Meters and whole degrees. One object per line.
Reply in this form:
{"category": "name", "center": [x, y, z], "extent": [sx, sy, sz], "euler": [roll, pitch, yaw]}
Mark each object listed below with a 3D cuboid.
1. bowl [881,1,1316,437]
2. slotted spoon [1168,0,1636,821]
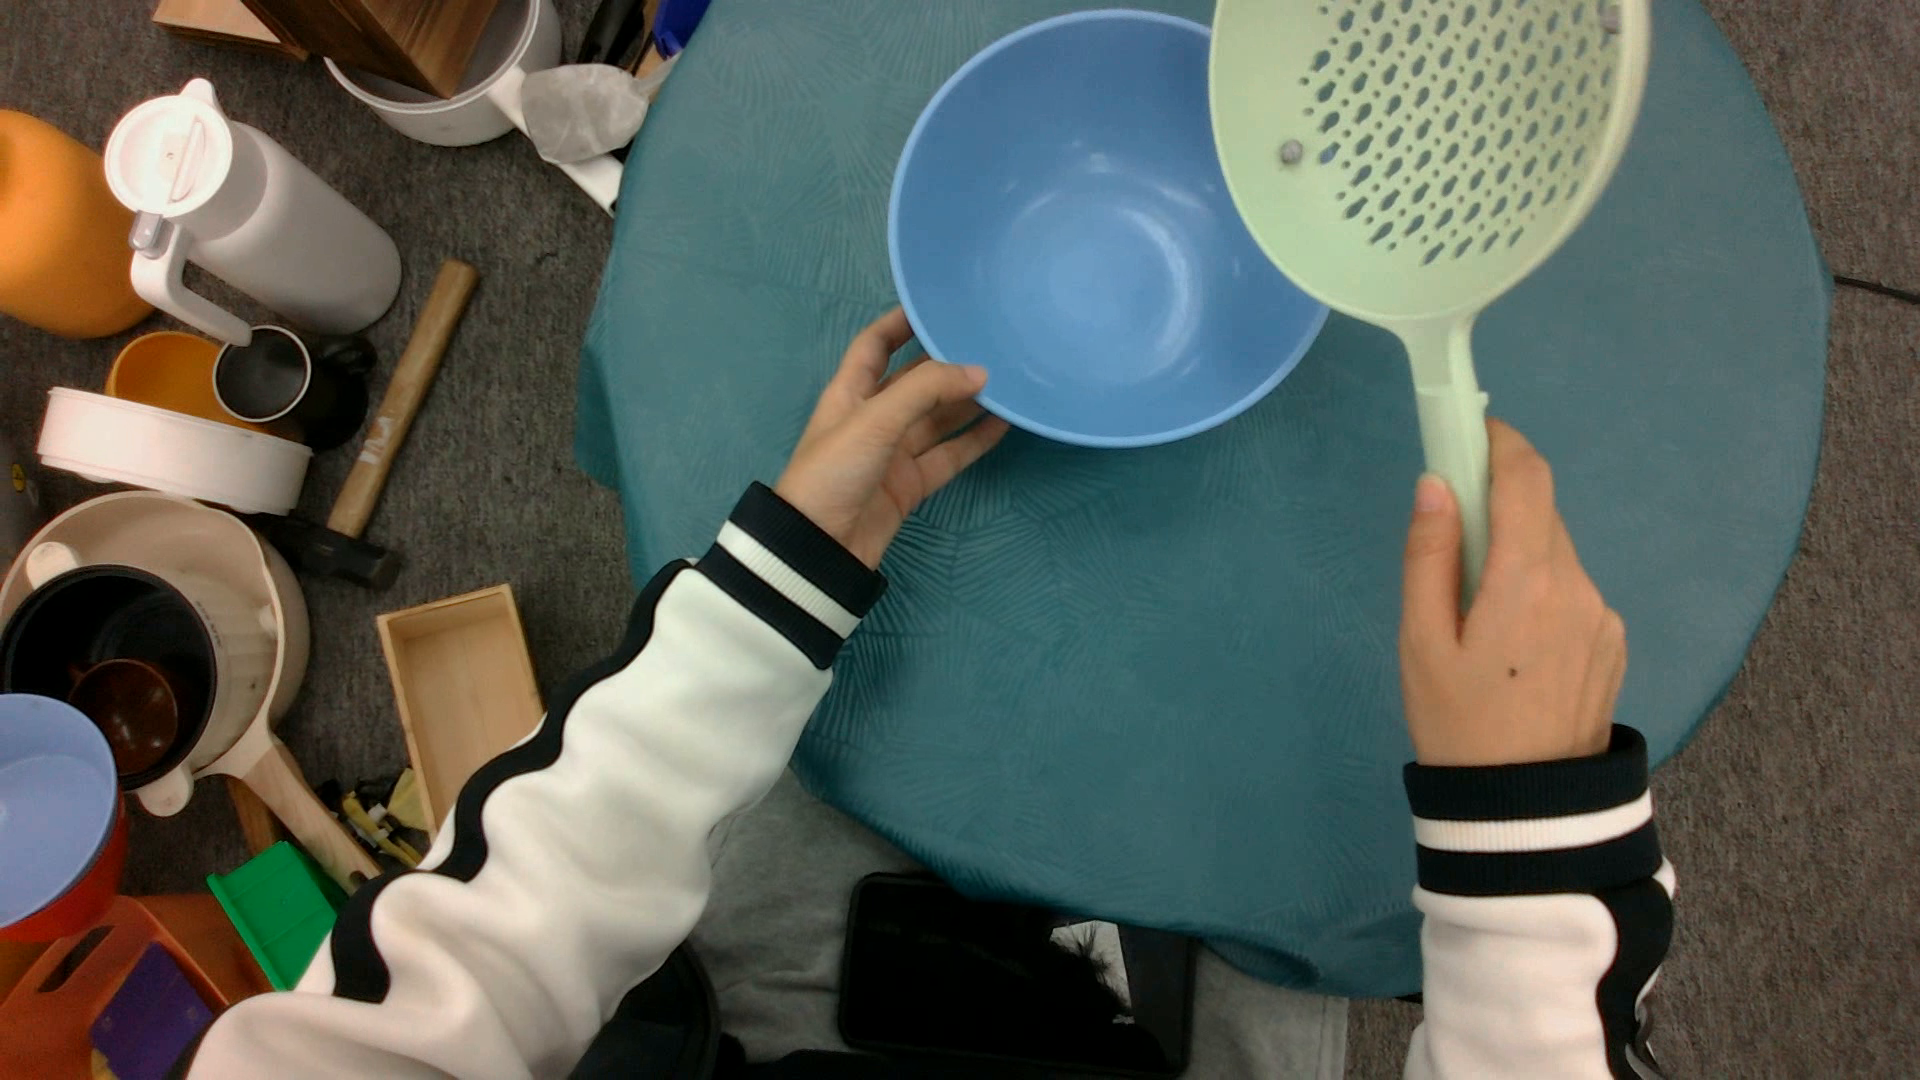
{"category": "bowl", "center": [0.065, -0.134, 0.637], "extent": [0.196, 0.095, 0.197], "euler": [0, 81, 1]}
{"category": "slotted spoon", "center": [0.172, -0.065, 0.509], "extent": [0.169, 0.075, 0.358], "euler": [-3, 93, 42]}
